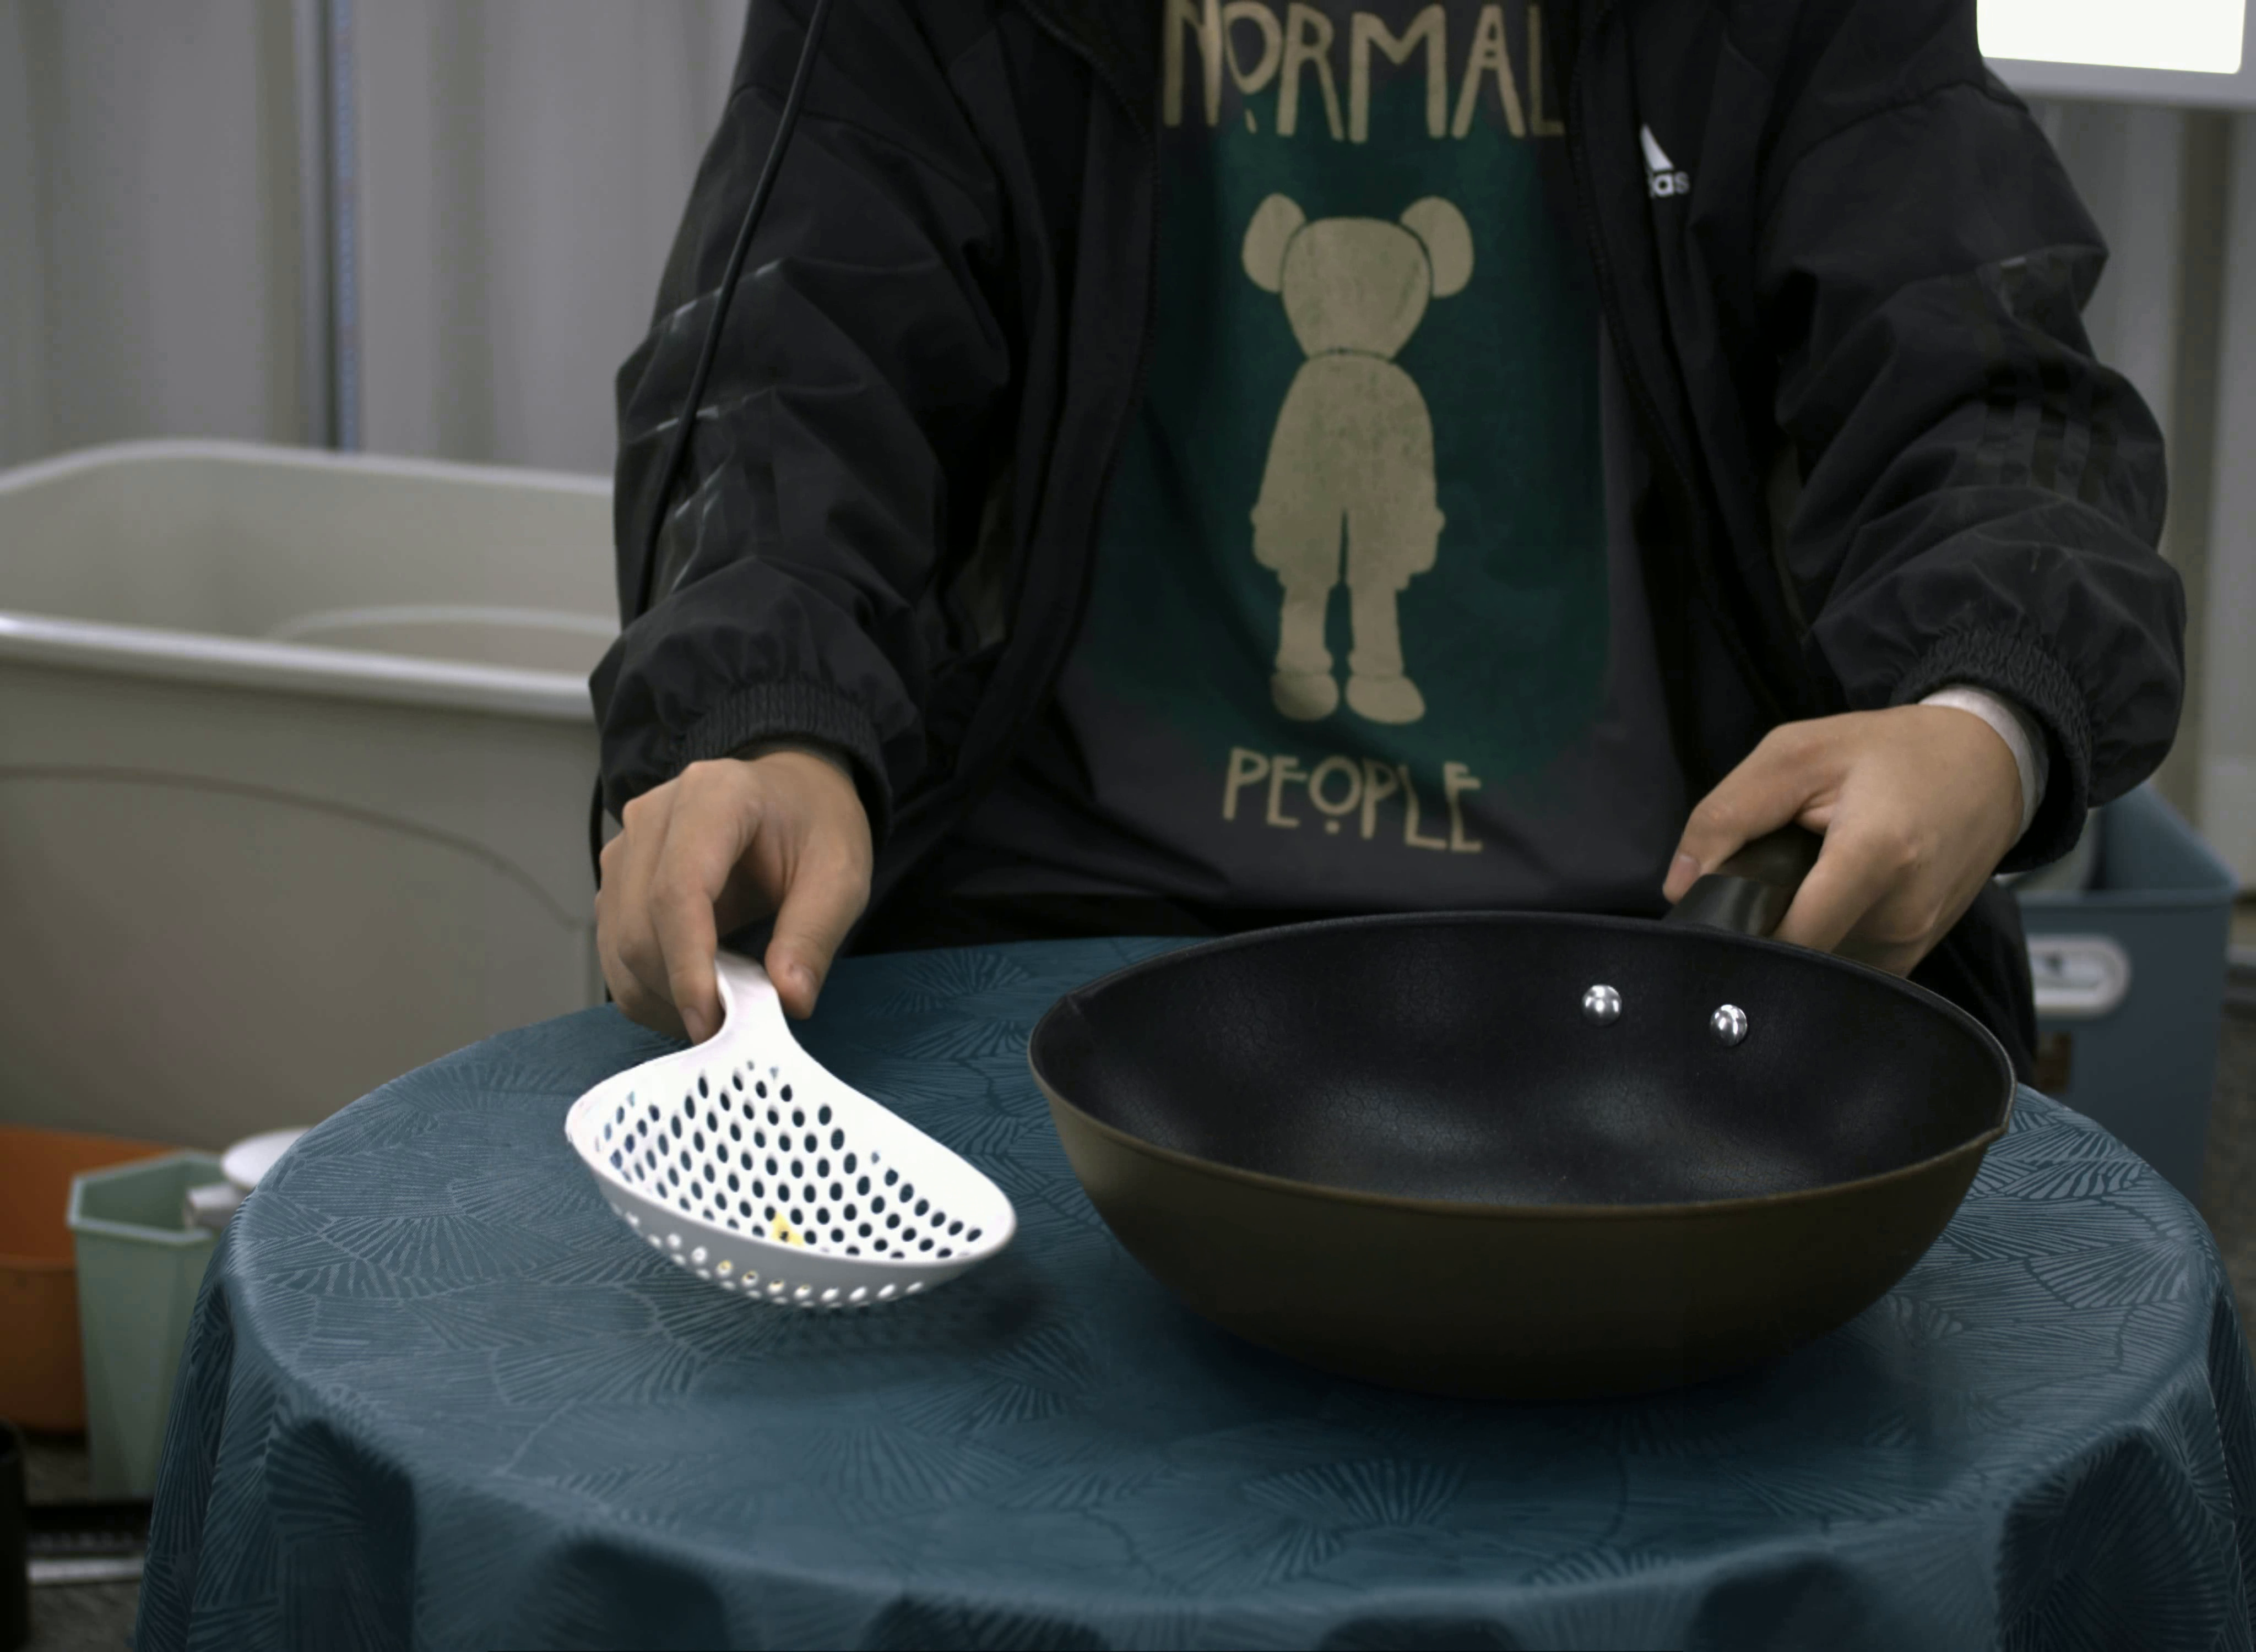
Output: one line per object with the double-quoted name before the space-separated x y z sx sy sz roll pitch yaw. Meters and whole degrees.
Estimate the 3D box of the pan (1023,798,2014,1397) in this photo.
"pan" 0.149 0.078 1.596 0.285 0.087 0.464 8 17 23

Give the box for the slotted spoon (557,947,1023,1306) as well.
"slotted spoon" -0.116 0.079 1.628 0.137 0.050 0.345 10 17 -12
